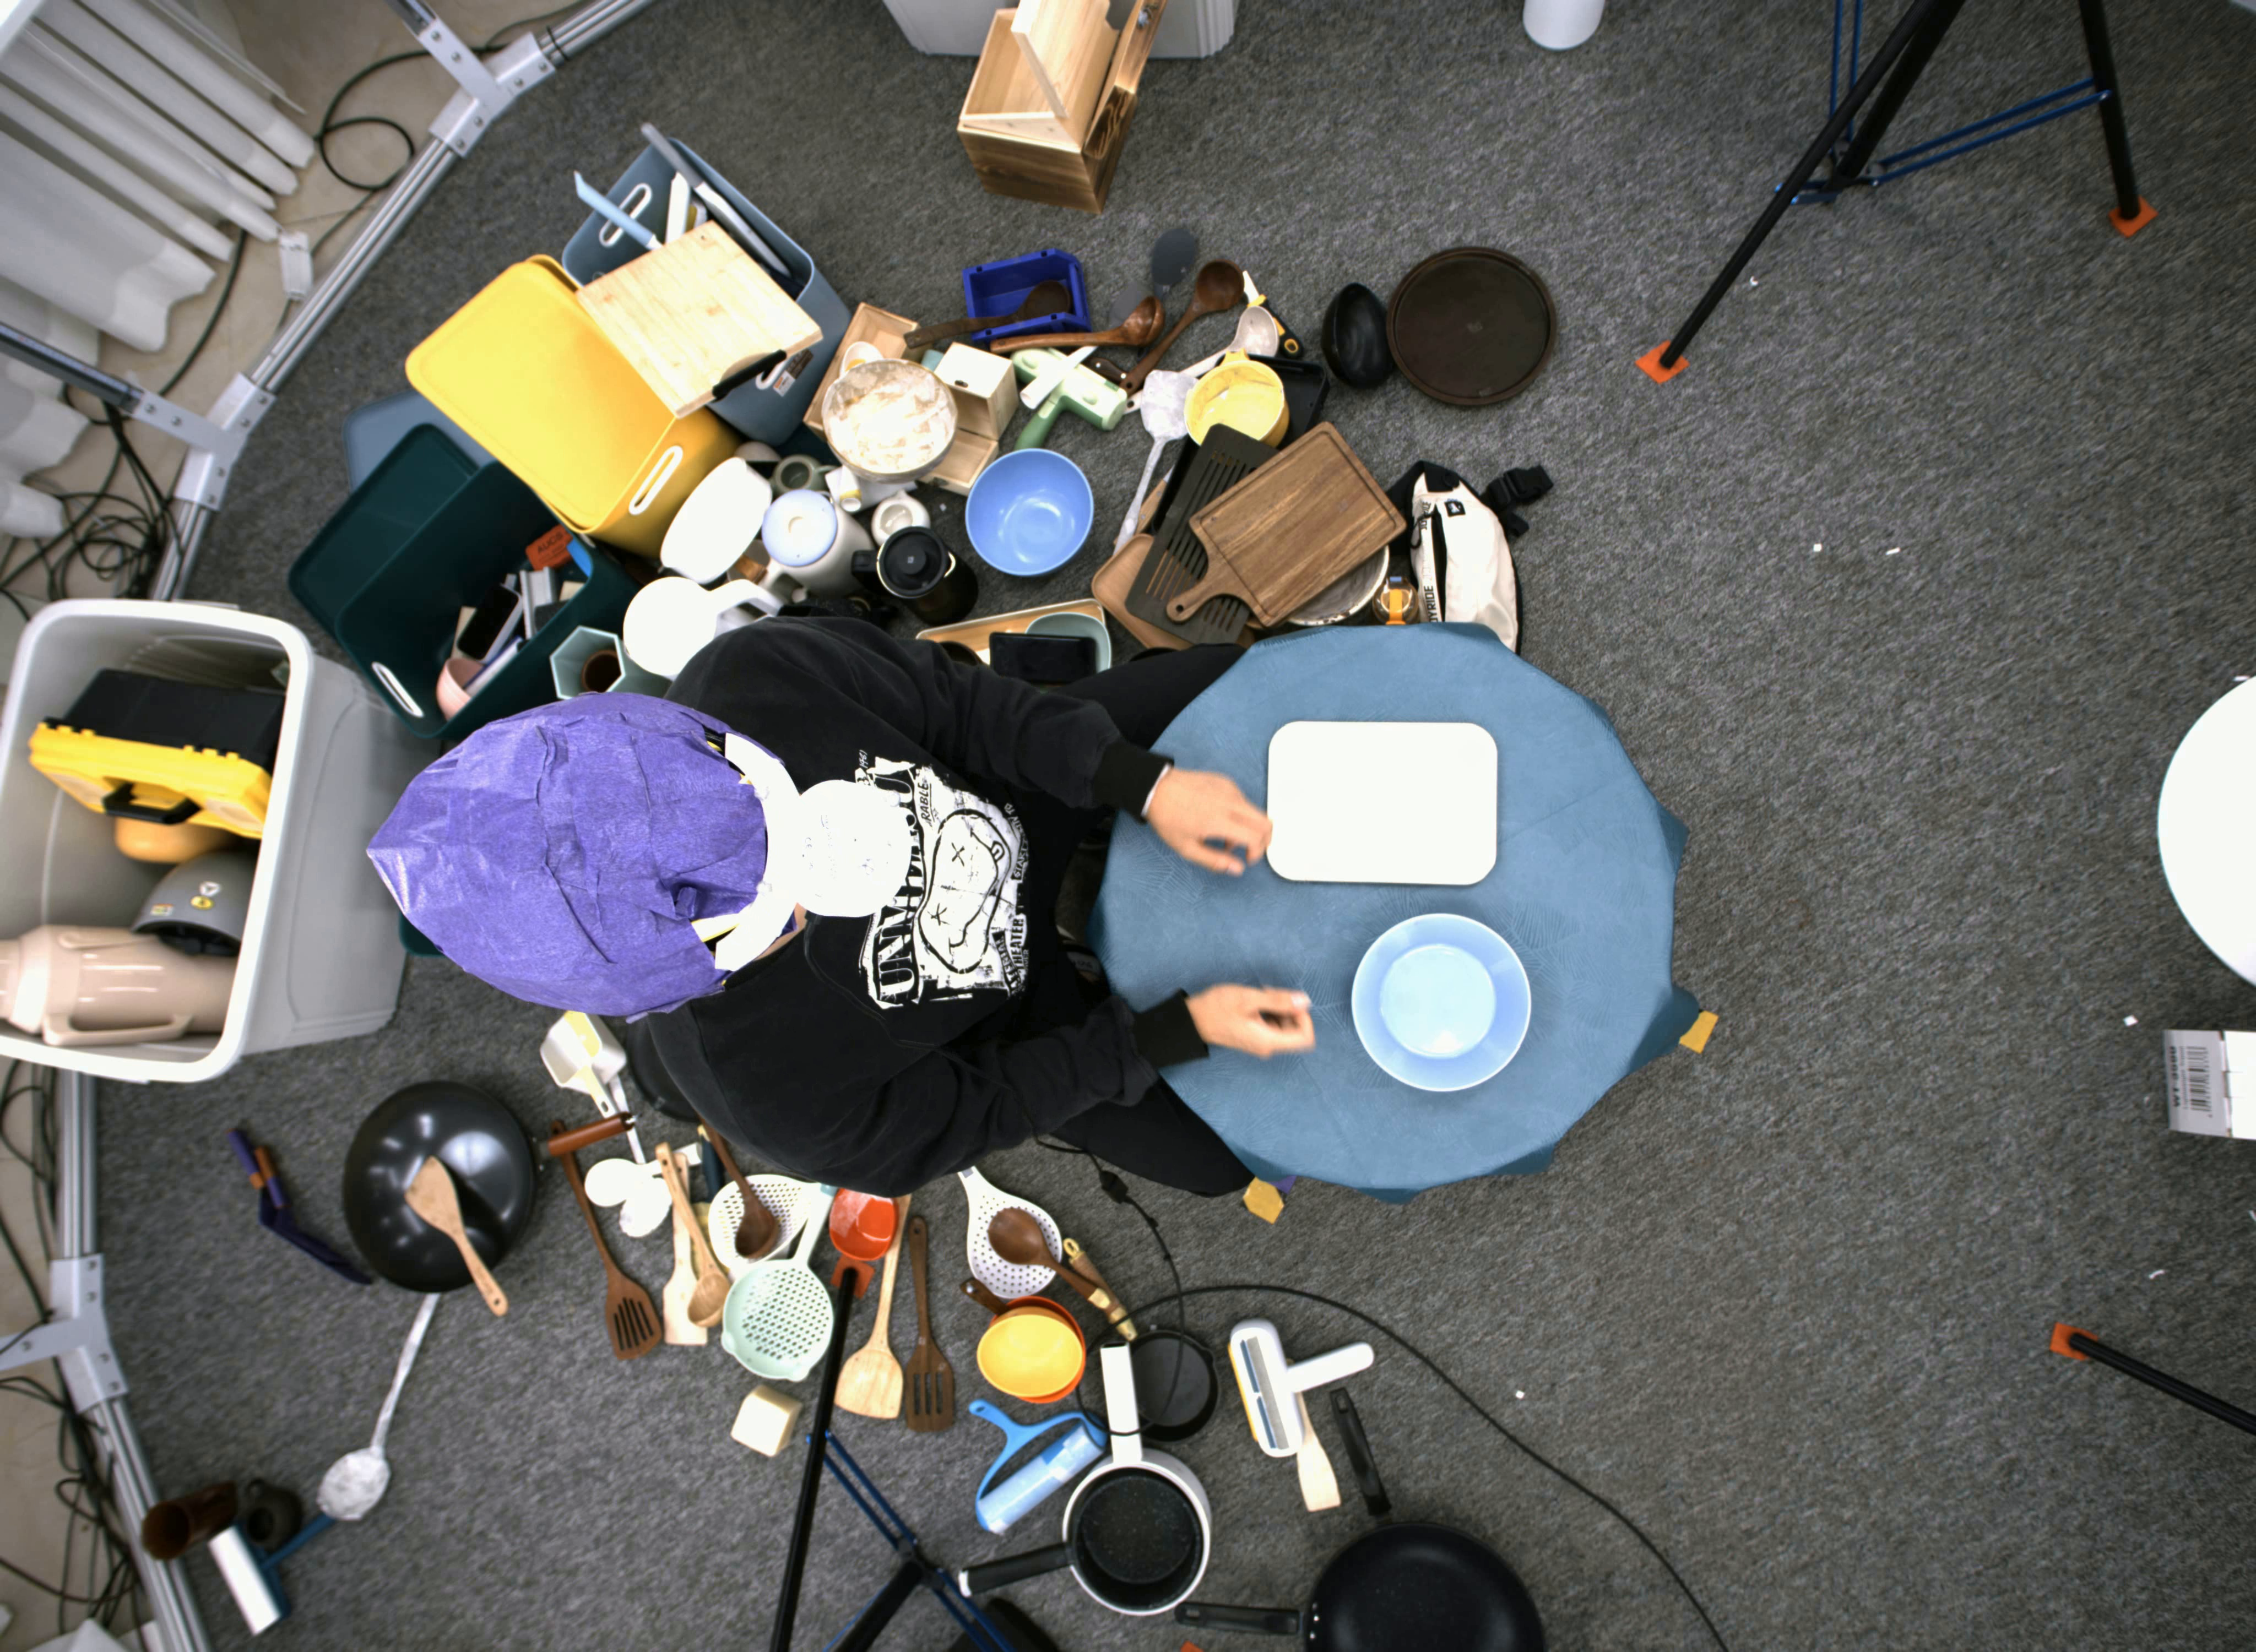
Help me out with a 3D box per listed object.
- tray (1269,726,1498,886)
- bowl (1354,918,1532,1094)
[{"bbox_3d":[0.270,-0.023,1.462,0.240,0.017,0.170,1,86,10],"label":"tray"},{"bbox_3d":[0.320,0.182,1.412,0.177,0.070,0.175,-1,85,10],"label":"bowl"}]
